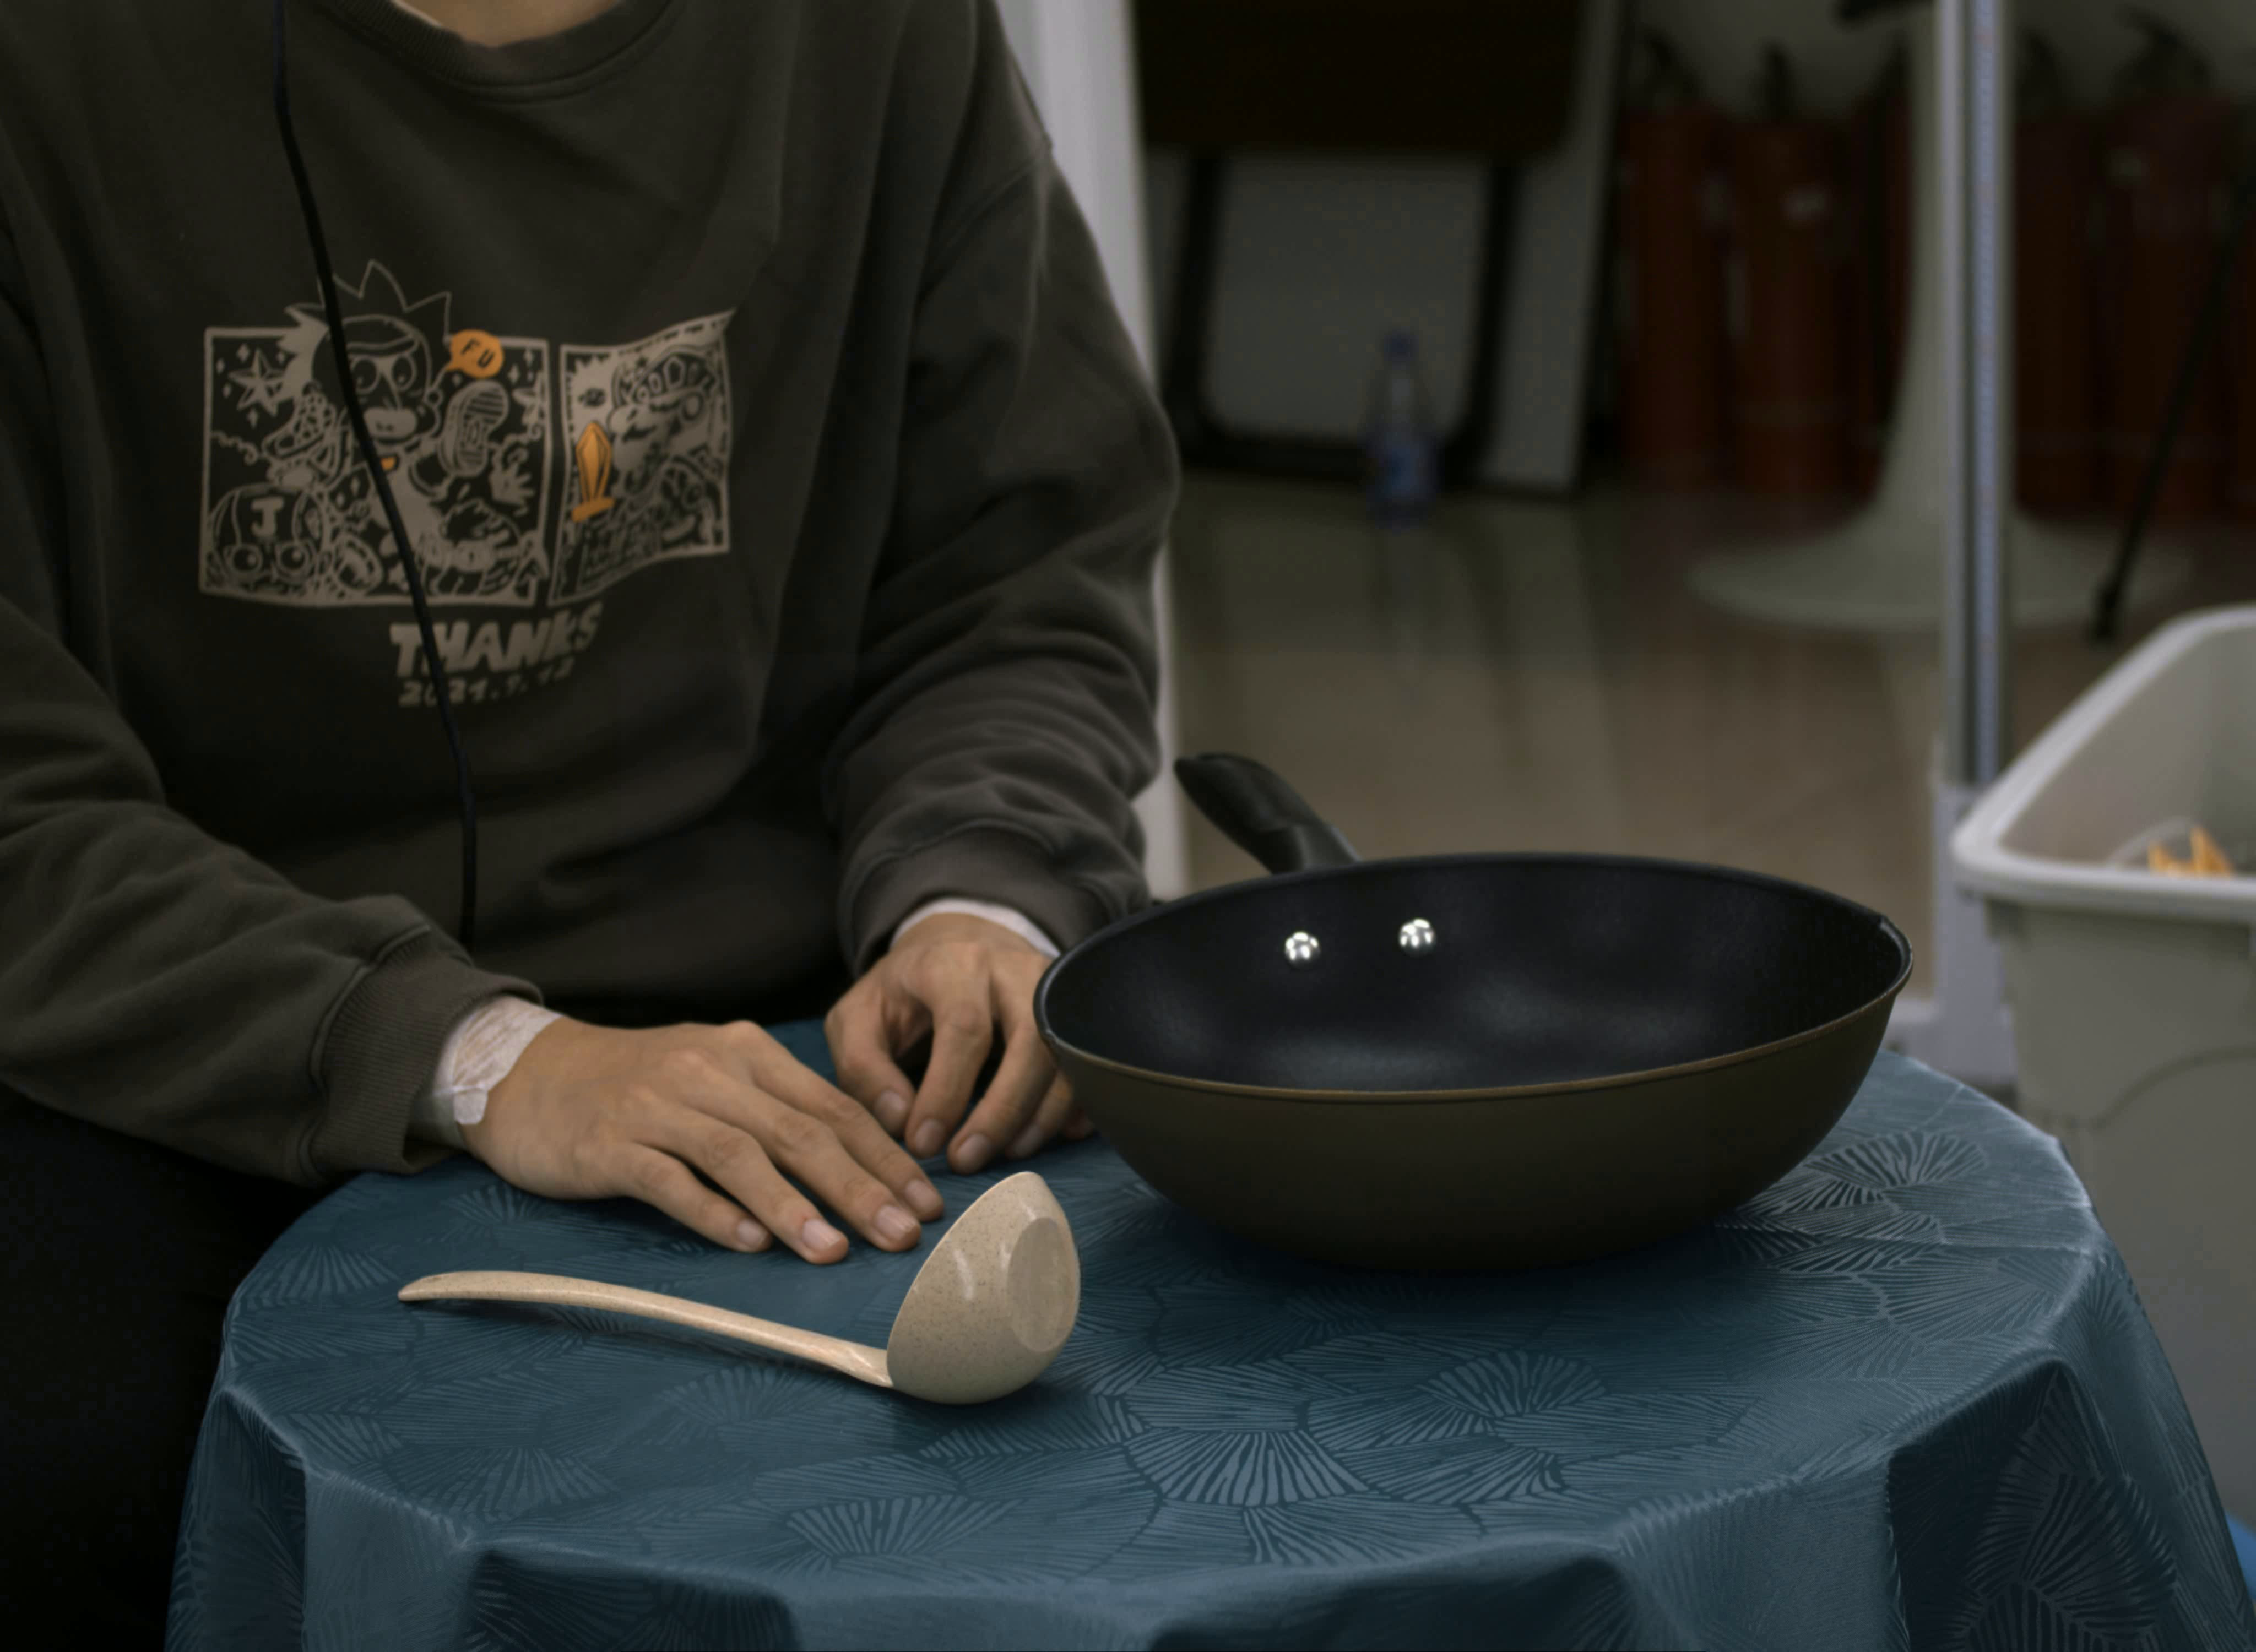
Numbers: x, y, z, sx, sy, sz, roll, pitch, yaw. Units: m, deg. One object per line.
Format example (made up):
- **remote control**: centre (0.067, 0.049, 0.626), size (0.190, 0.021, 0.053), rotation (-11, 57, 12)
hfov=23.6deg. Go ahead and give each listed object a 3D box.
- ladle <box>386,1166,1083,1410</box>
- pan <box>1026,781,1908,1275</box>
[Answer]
- **ladle**: centre (-0.129, 0.128, 1.634), size (0.255, 0.073, 0.071), rotation (5, 21, 32)
- **pan**: centre (0.088, 0.064, 1.811), size (0.283, 0.088, 0.466), rotation (-7, 13, -13)
